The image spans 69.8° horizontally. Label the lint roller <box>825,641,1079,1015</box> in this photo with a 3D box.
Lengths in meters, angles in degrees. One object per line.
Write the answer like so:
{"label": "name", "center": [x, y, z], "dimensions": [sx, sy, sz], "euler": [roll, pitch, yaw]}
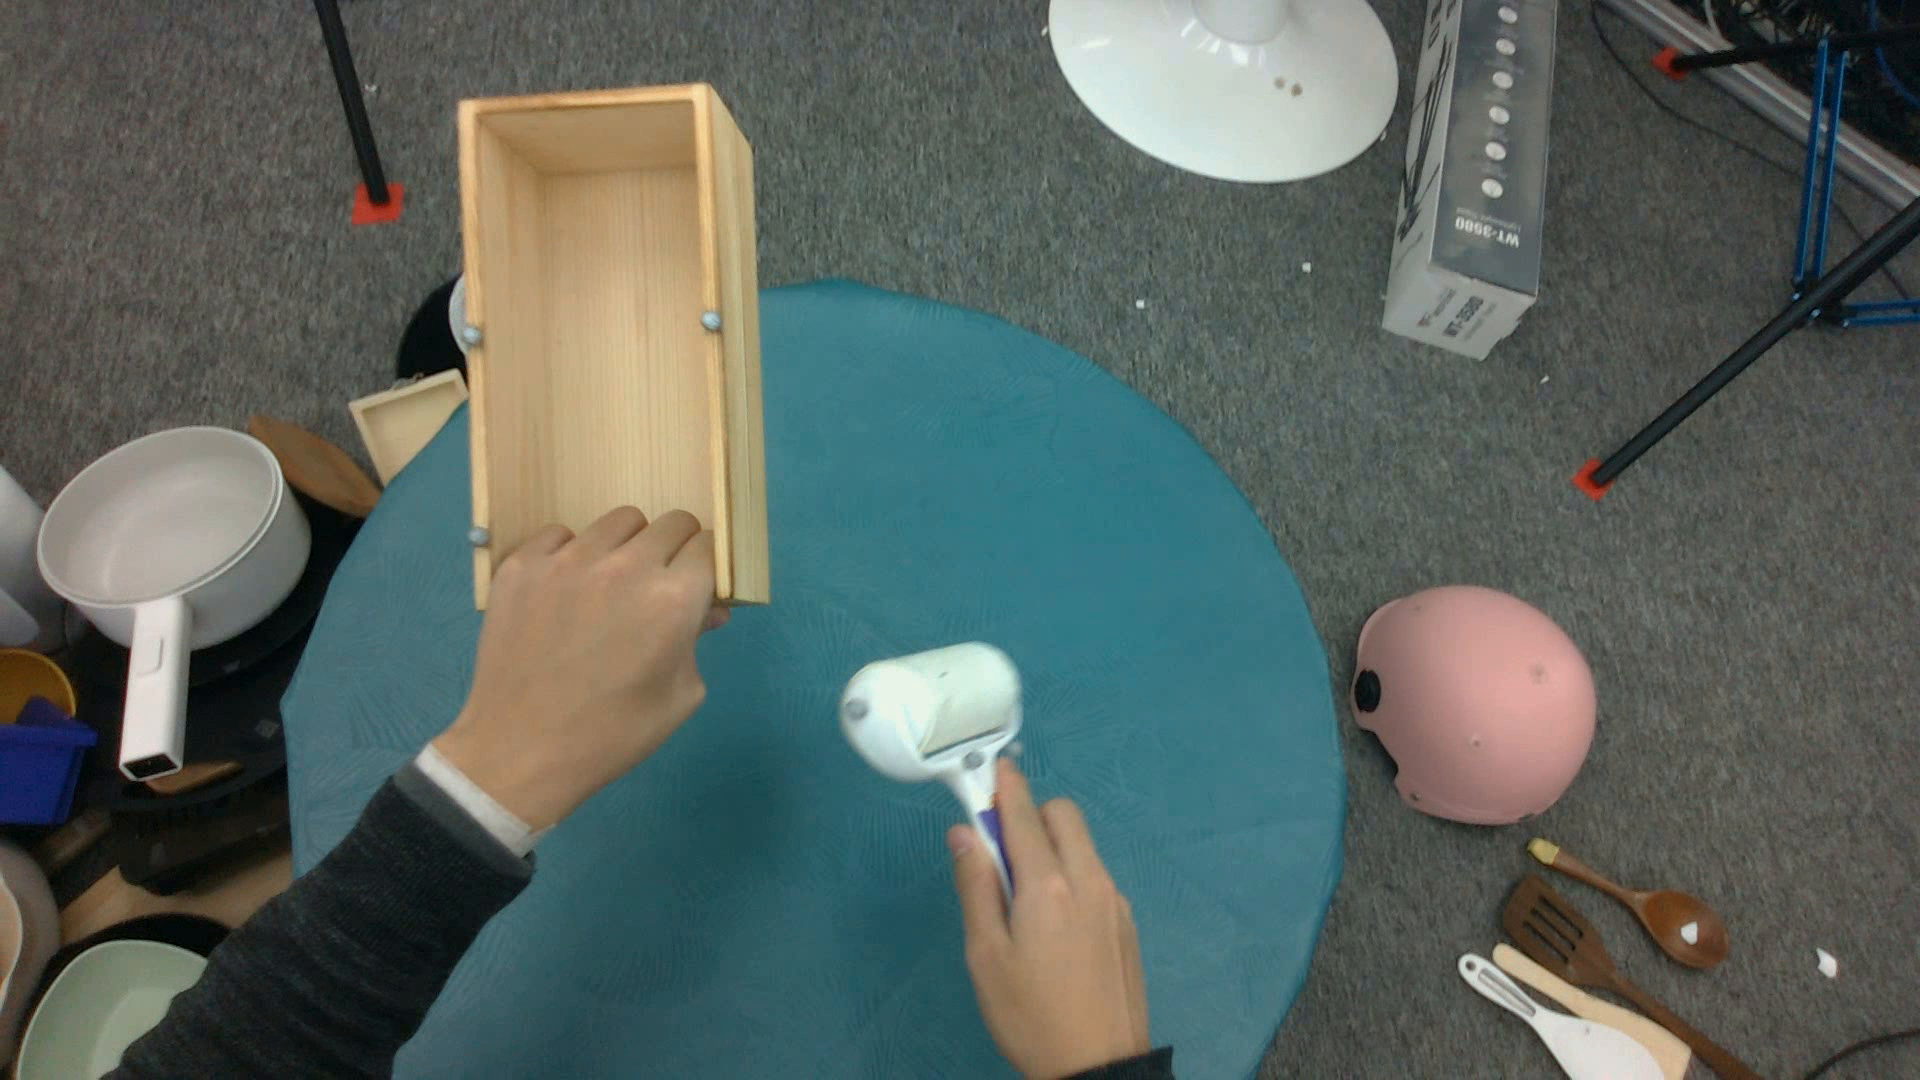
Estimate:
{"label": "lint roller", "center": [0.014, 0.128, 0.630], "dimensions": [0.050, 0.133, 0.181], "euler": [-38, 76, 17]}

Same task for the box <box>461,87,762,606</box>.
{"label": "box", "center": [-0.150, -0.079, 0.604], "dimensions": [0.107, 0.080, 0.211], "euler": [-3, 86, 1]}
